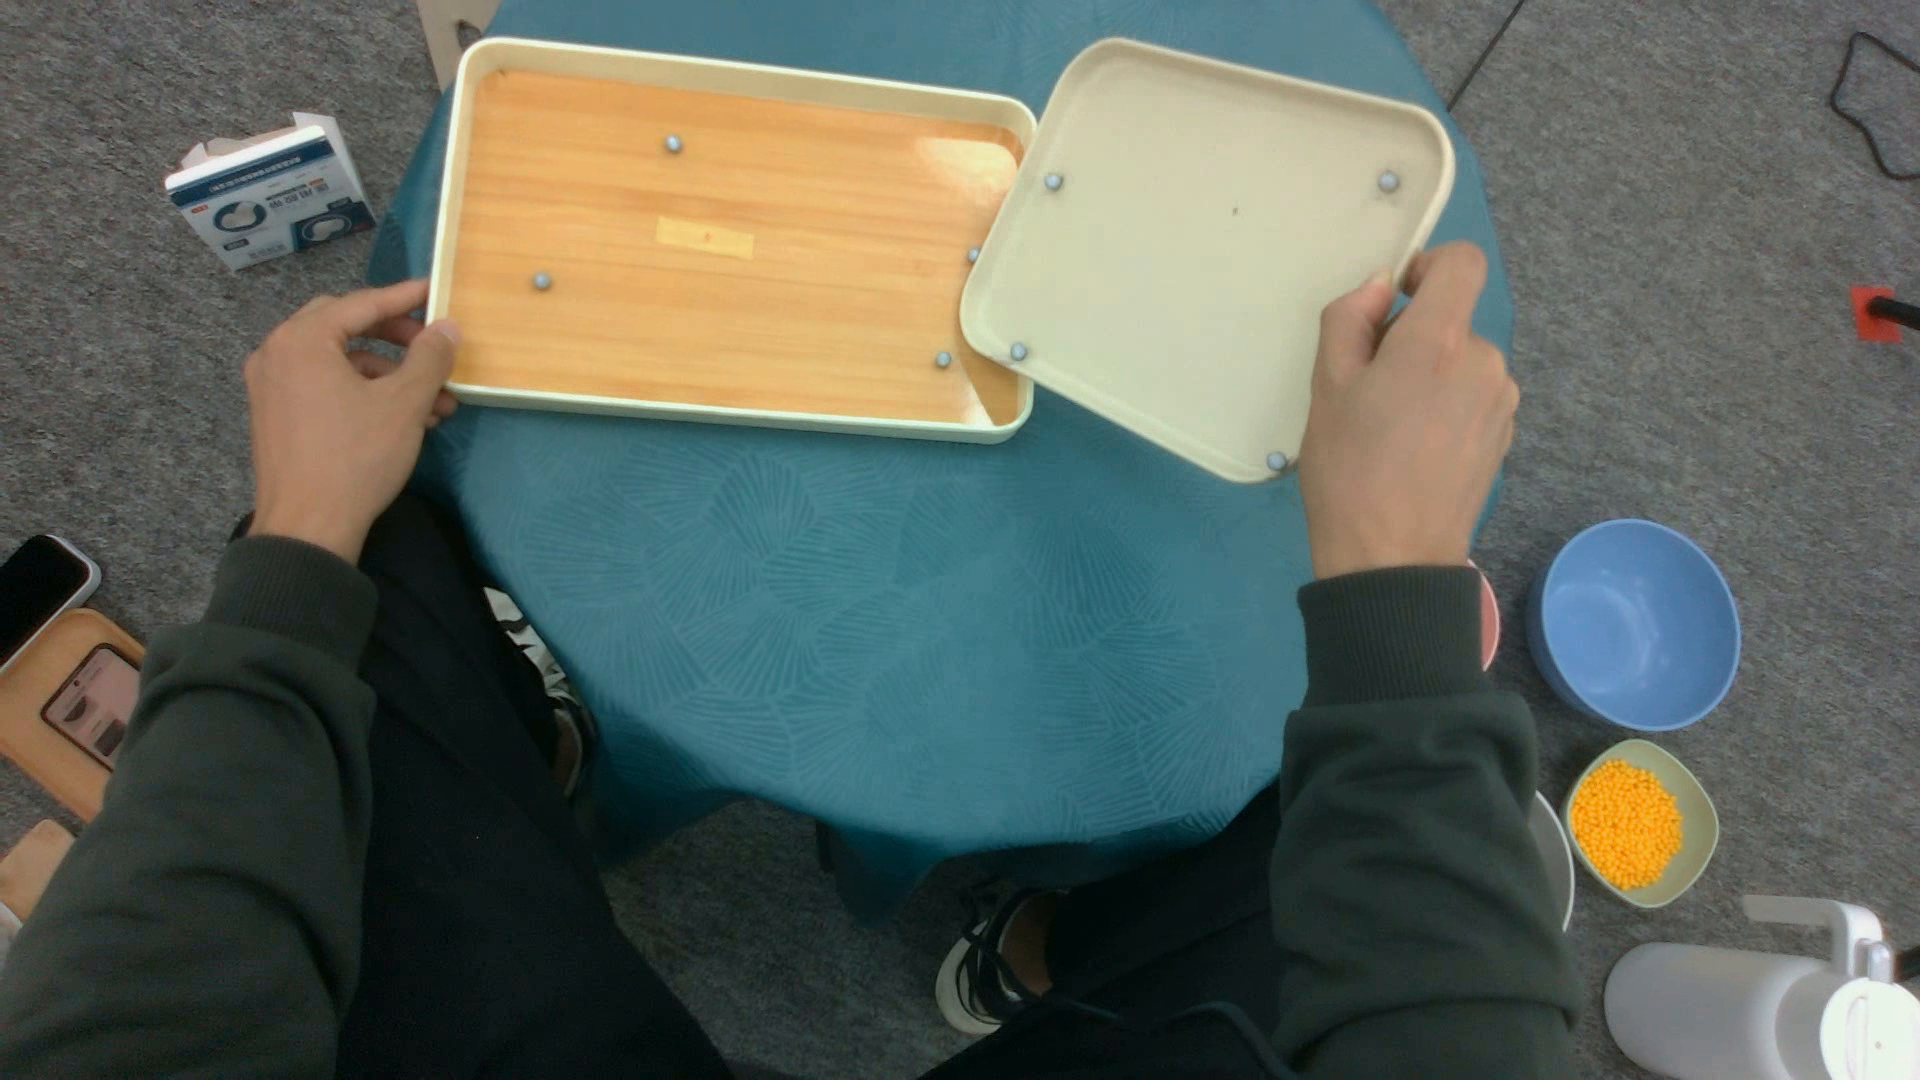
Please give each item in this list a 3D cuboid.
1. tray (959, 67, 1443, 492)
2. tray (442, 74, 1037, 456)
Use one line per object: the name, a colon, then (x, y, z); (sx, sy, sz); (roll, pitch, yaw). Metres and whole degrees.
tray: (0.104, -0.132, 0.662); (0.017, 0.240, 0.171); (19, 100, -45)
tray: (-0.109, -0.145, 0.730); (0.300, 0.027, 0.192); (3, 77, -7)
